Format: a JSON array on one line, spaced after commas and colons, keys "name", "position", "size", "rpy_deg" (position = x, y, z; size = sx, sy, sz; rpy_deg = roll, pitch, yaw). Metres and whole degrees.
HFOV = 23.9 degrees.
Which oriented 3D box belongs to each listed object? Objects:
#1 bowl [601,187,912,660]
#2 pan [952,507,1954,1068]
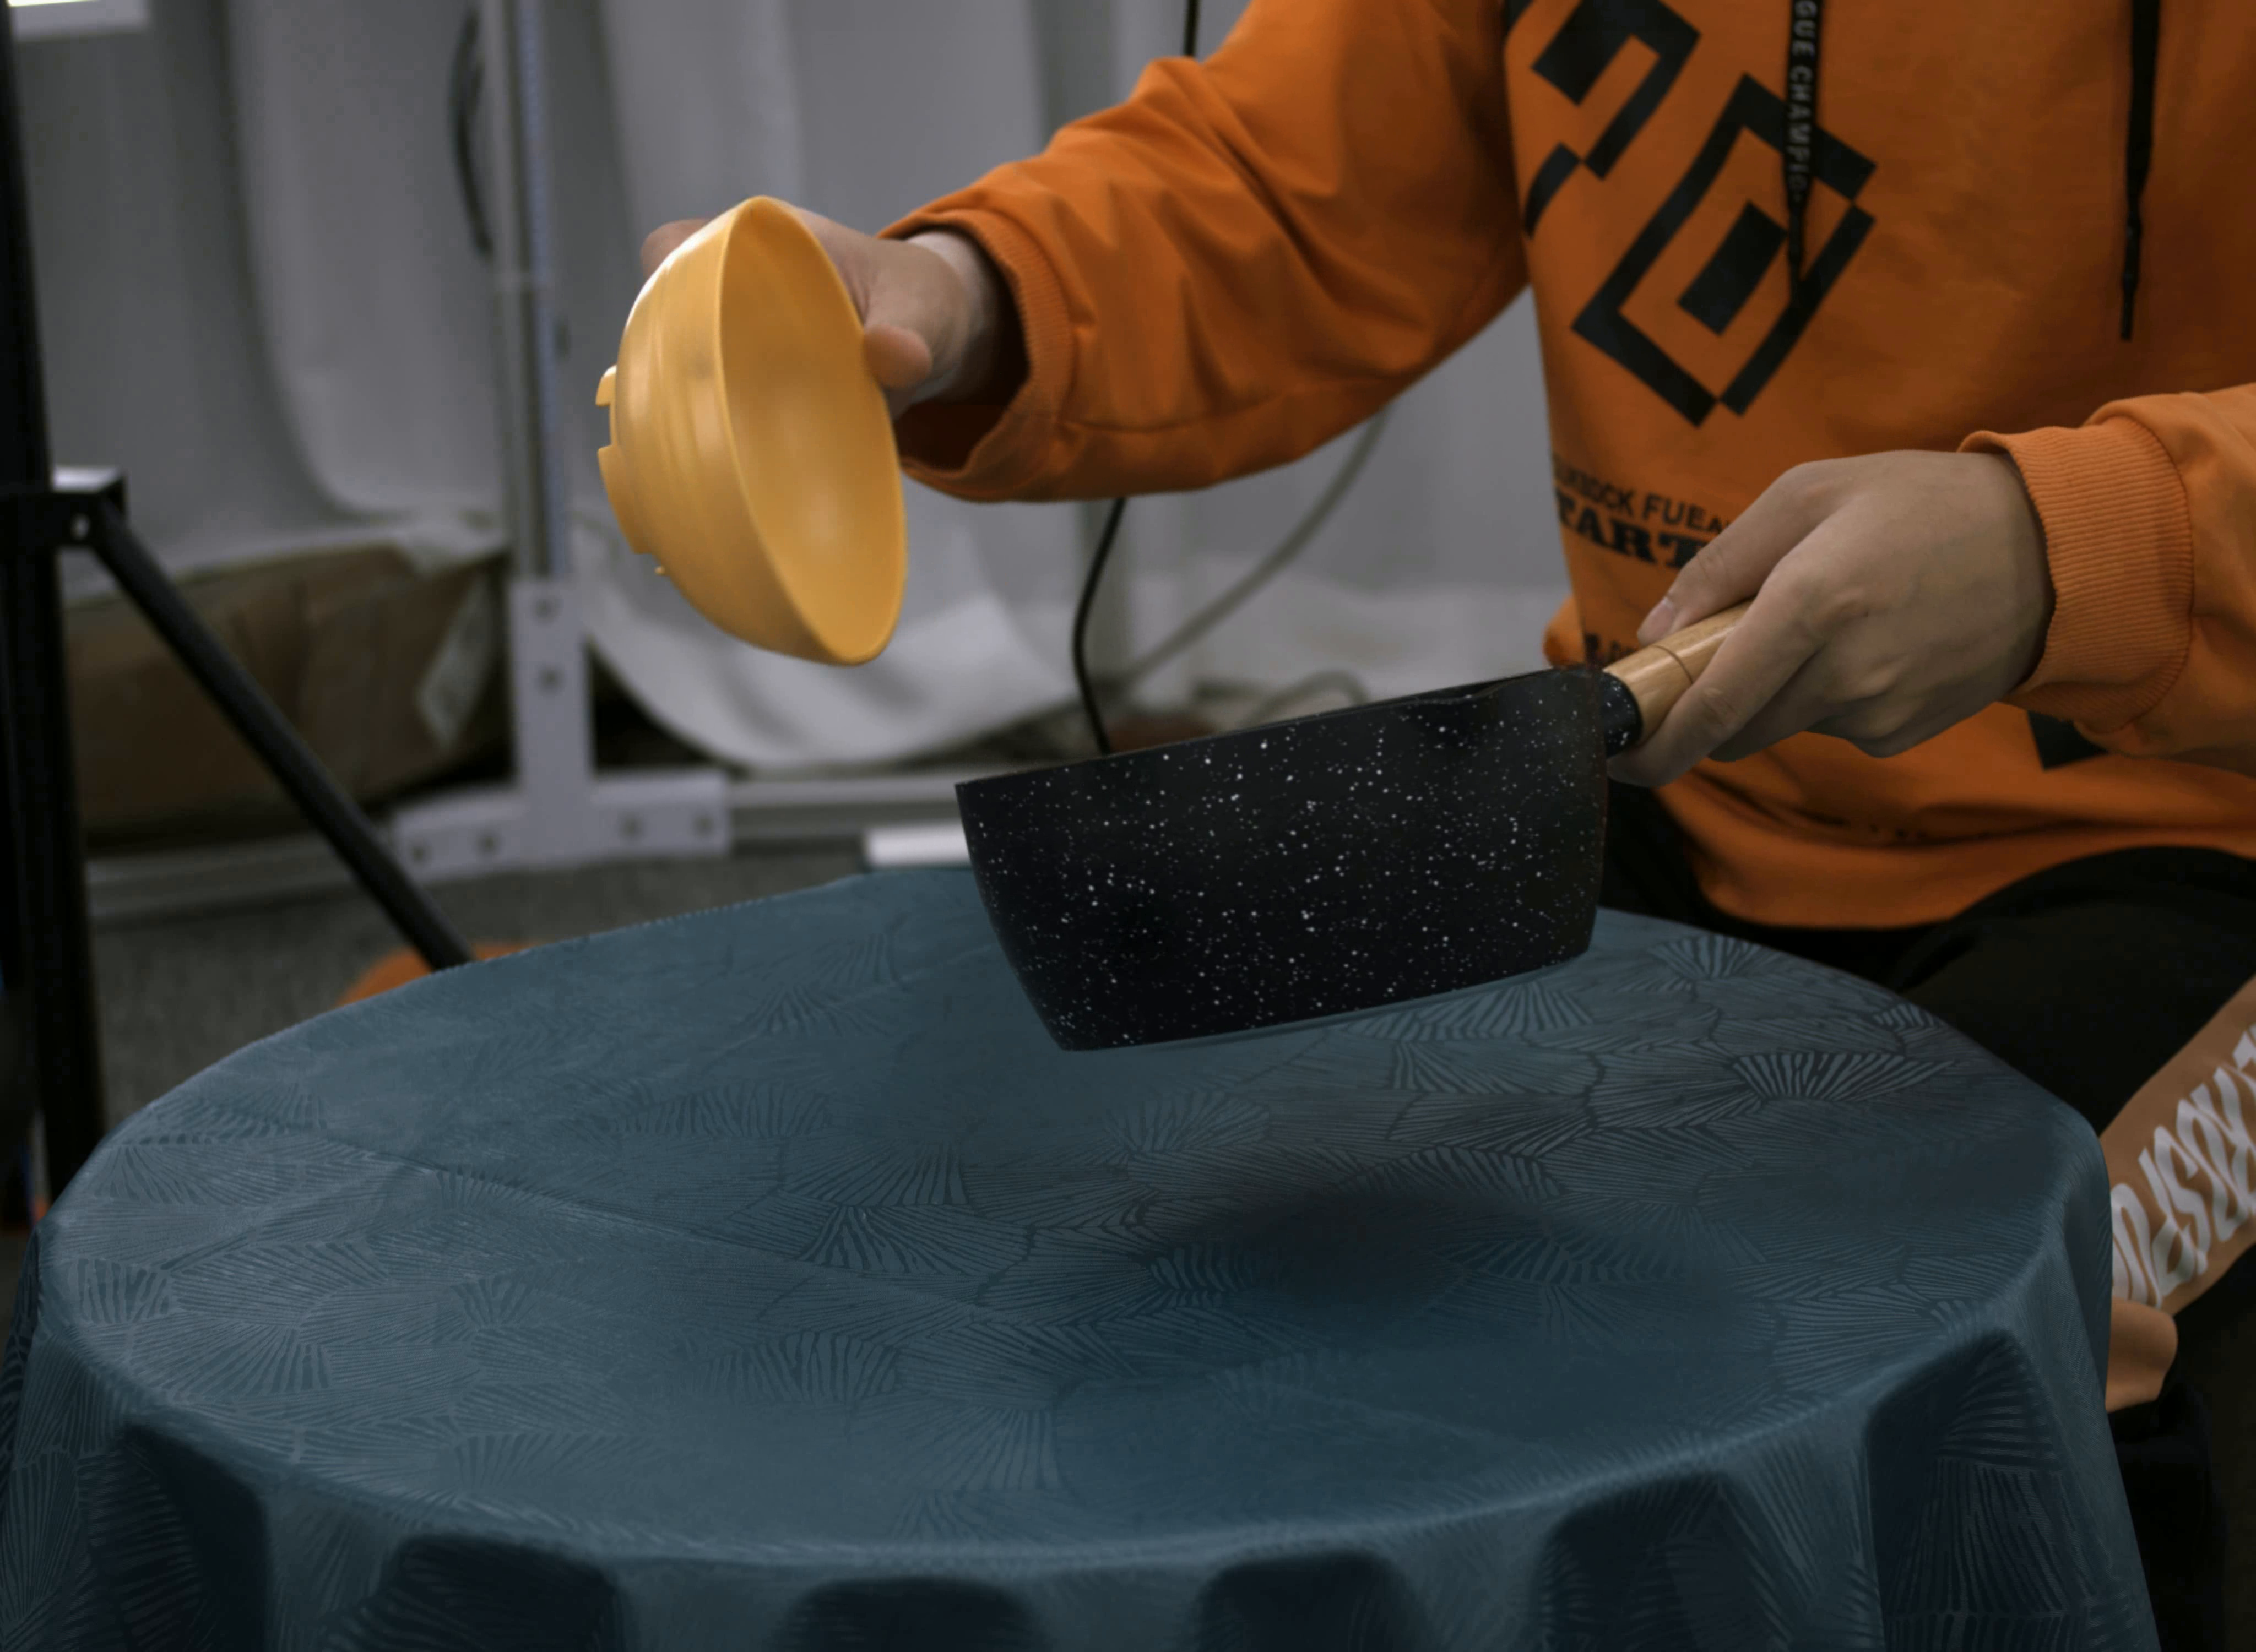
[{"name": "bowl", "position": [-0.120, -0.116, 1.622], "size": [0.060, 0.145, 0.144], "rpy_deg": [-12, 12, 17]}, {"name": "pan", "position": [0.112, -0.013, 1.543], "size": [0.335, 0.109, 0.211], "rpy_deg": [-12, 1, -31]}]
